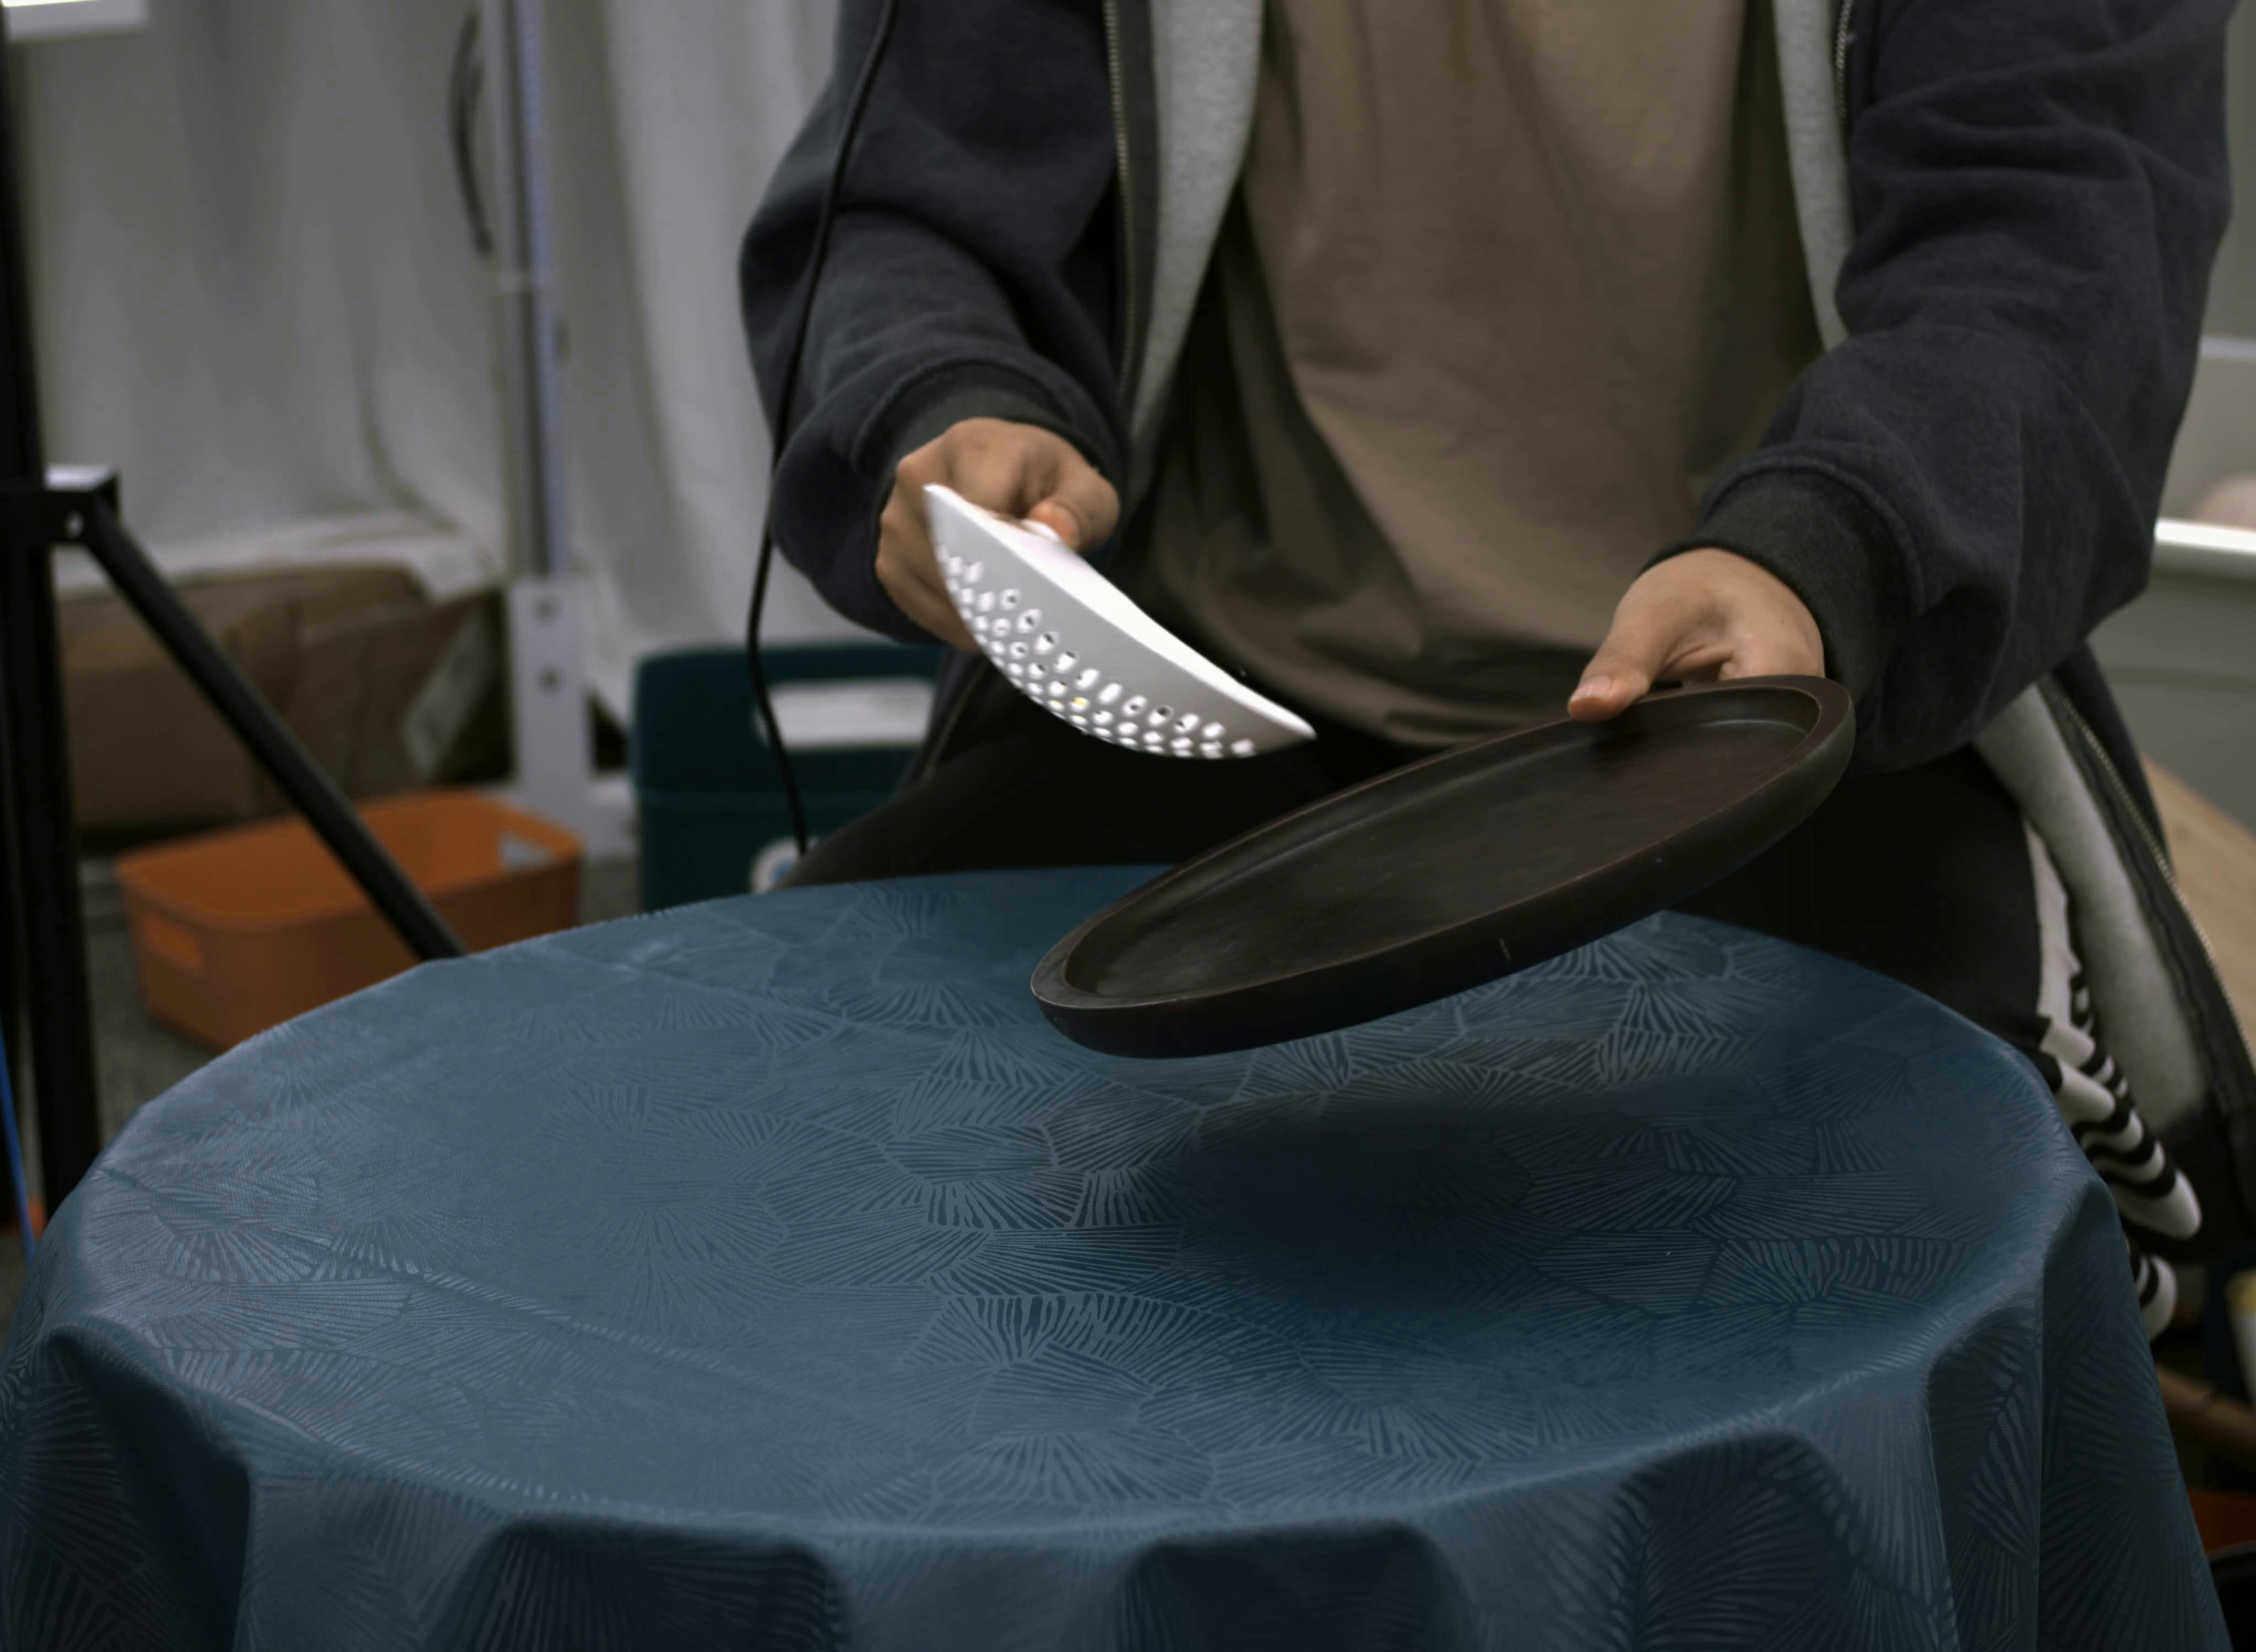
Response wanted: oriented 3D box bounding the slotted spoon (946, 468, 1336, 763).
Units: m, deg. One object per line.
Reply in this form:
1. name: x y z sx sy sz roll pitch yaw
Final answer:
1. slotted spoon: -0.019 -0.073 1.667 0.135 0.050 0.350 34 7 -12

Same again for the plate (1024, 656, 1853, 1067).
1. plate: 0.091 0.013 1.541 0.254 0.029 0.256 -22 10 2
